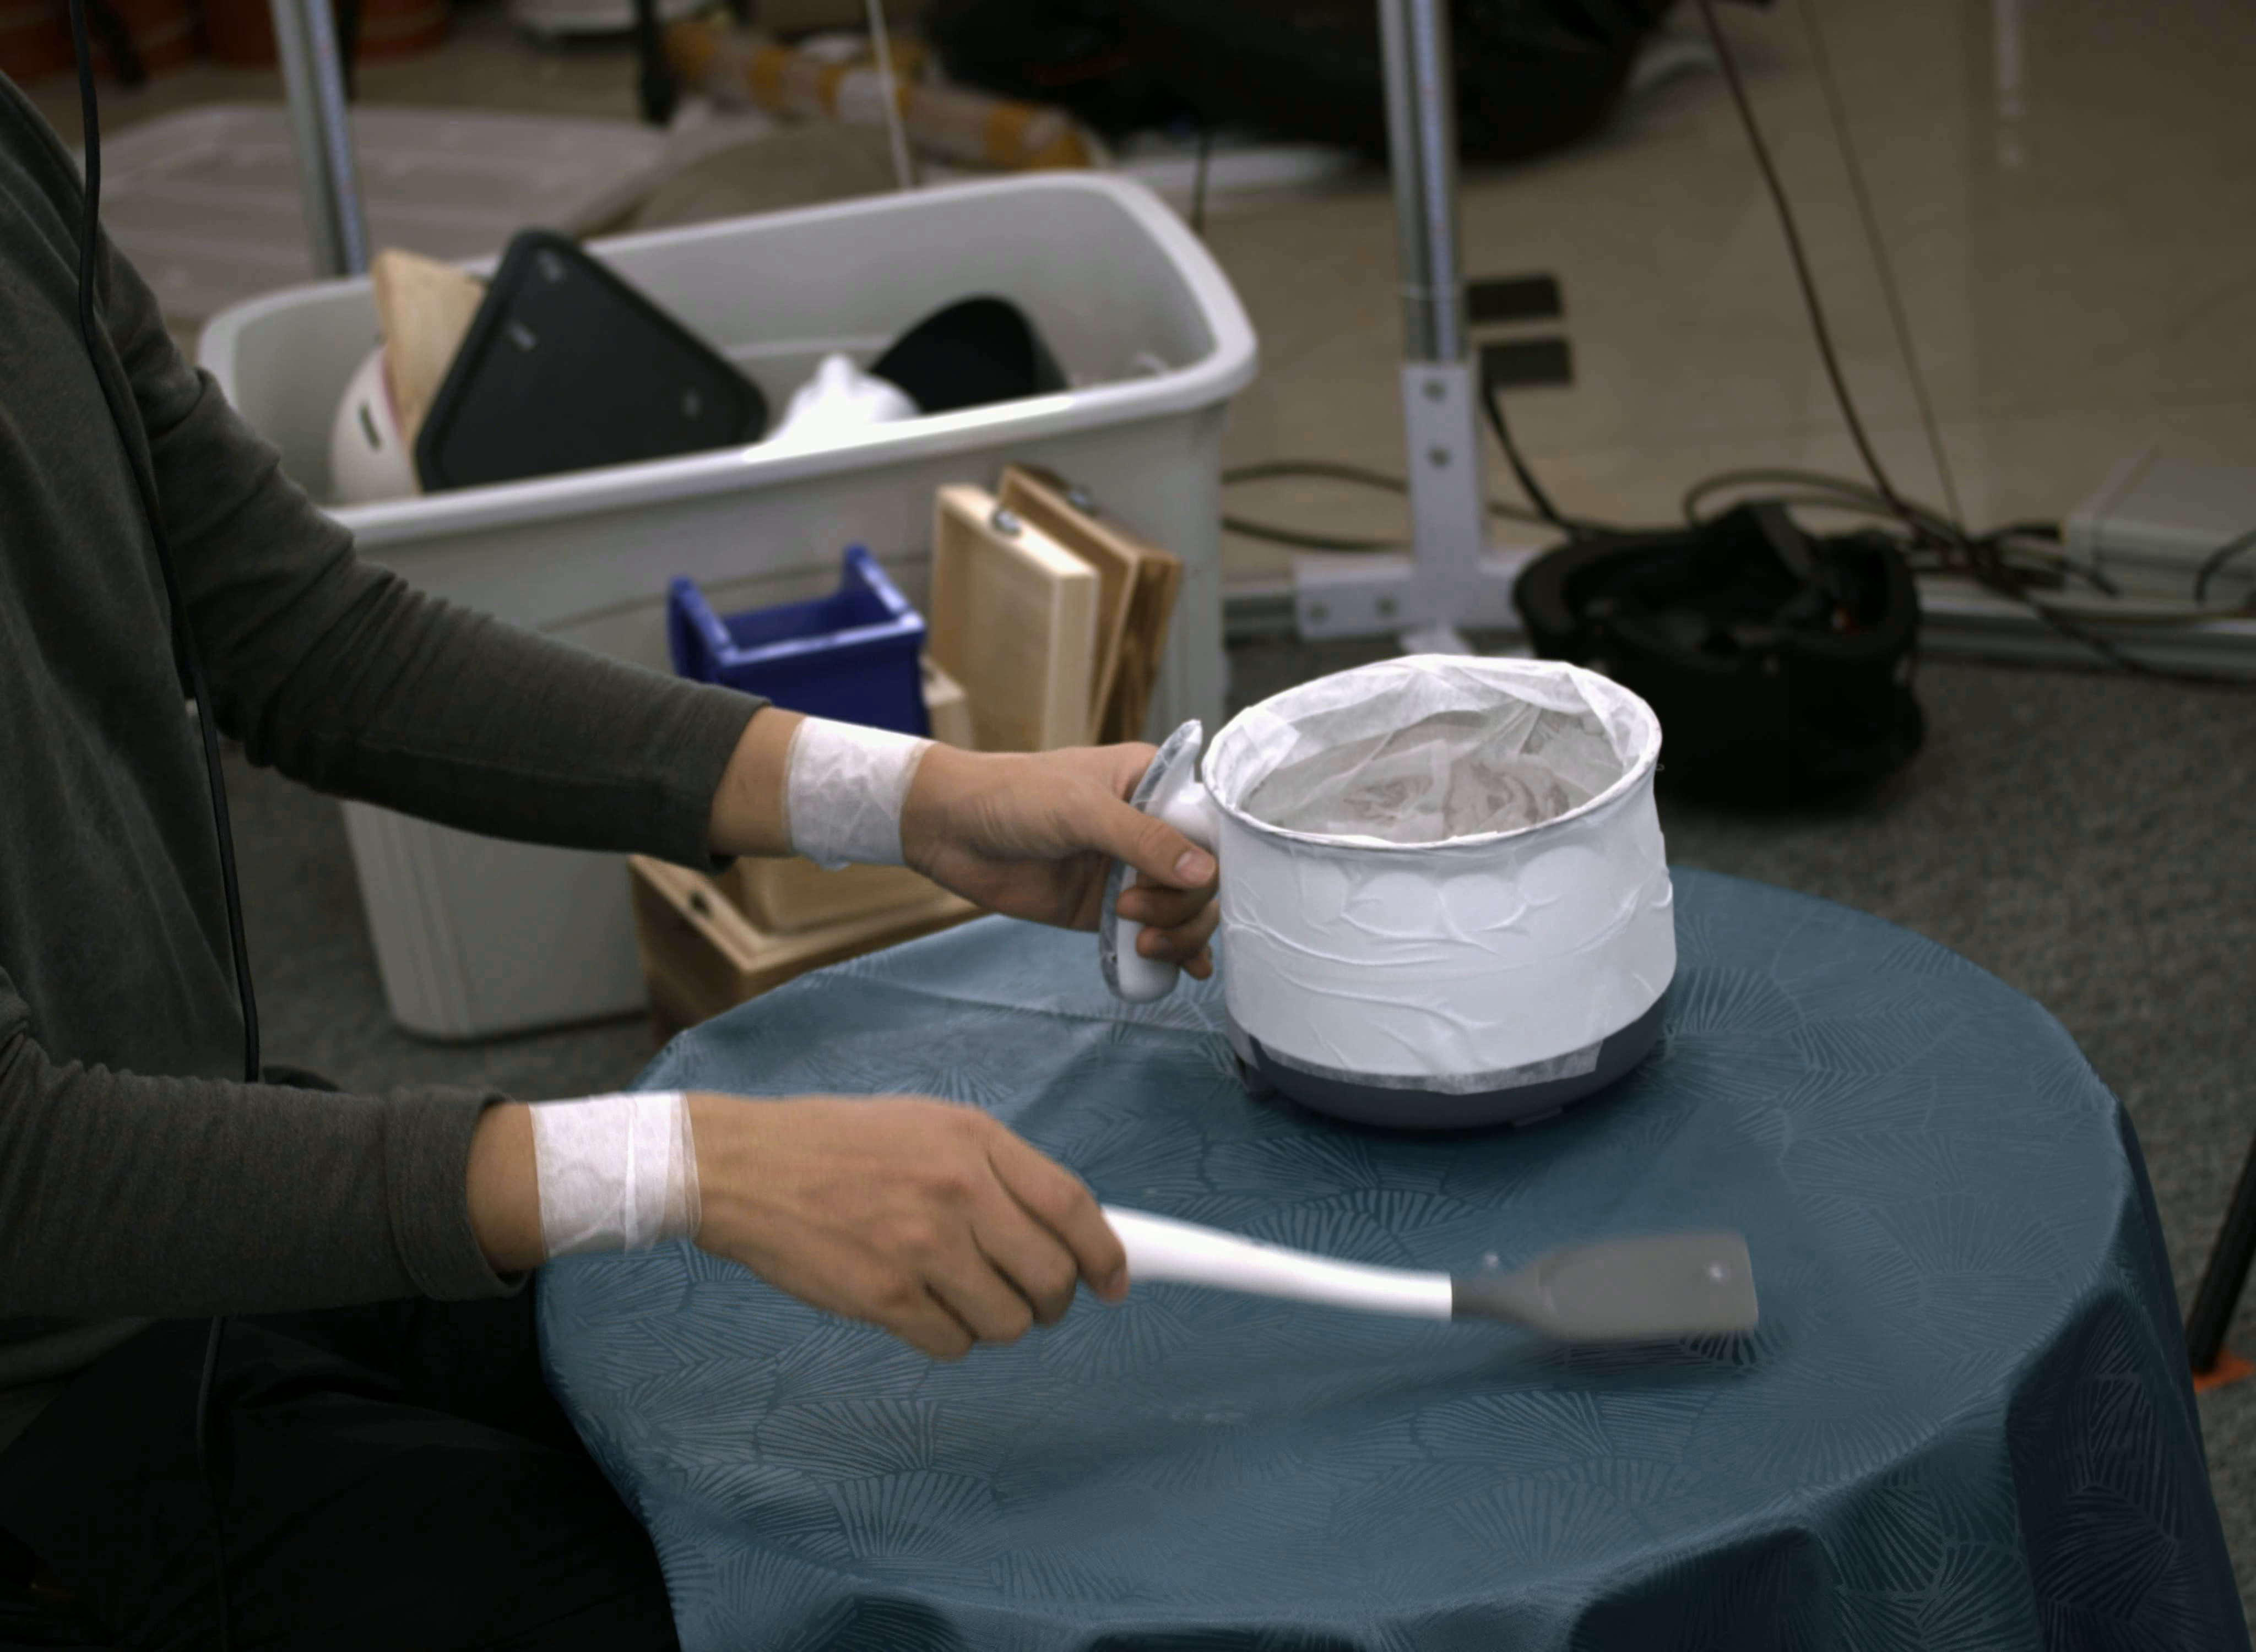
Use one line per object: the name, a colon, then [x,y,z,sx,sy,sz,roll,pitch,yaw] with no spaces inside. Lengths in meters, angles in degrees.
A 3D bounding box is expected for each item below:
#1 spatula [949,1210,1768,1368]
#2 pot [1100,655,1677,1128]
spatula: [0.081,0.162,1.987,0.287,0.033,0.057,5,35,-6]
pot: [0.097,0.025,2.206,0.233,0.139,0.176,4,27,20]
